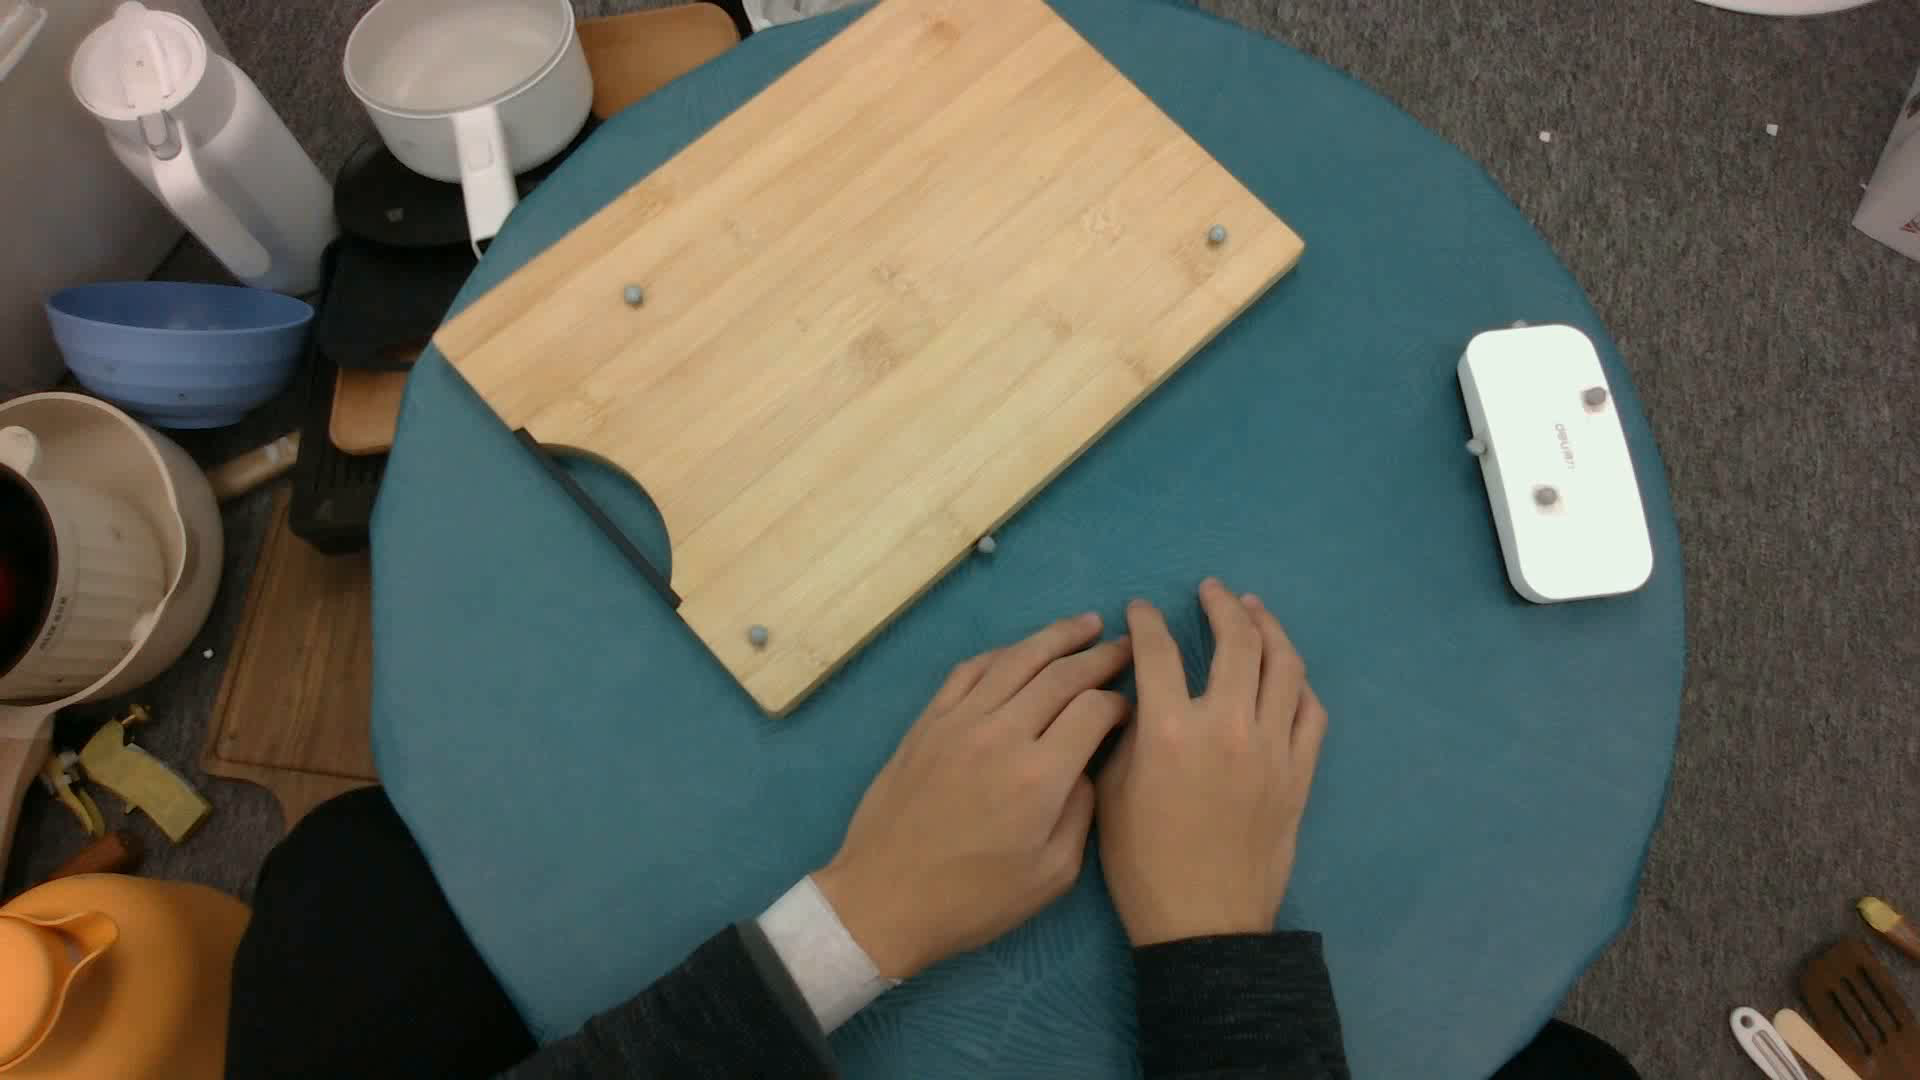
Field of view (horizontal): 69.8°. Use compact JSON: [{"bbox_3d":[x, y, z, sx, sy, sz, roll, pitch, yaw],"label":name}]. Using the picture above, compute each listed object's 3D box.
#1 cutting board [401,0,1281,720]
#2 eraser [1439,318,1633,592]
[{"bbox_3d":[-0.048,-0.117,0.657,0.349,0.023,0.251,-42,78,-14],"label":"cutting board"},{"bbox_3d":[0.265,-0.041,0.641,0.063,0.034,0.131,-5,71,-5],"label":"eraser"}]
